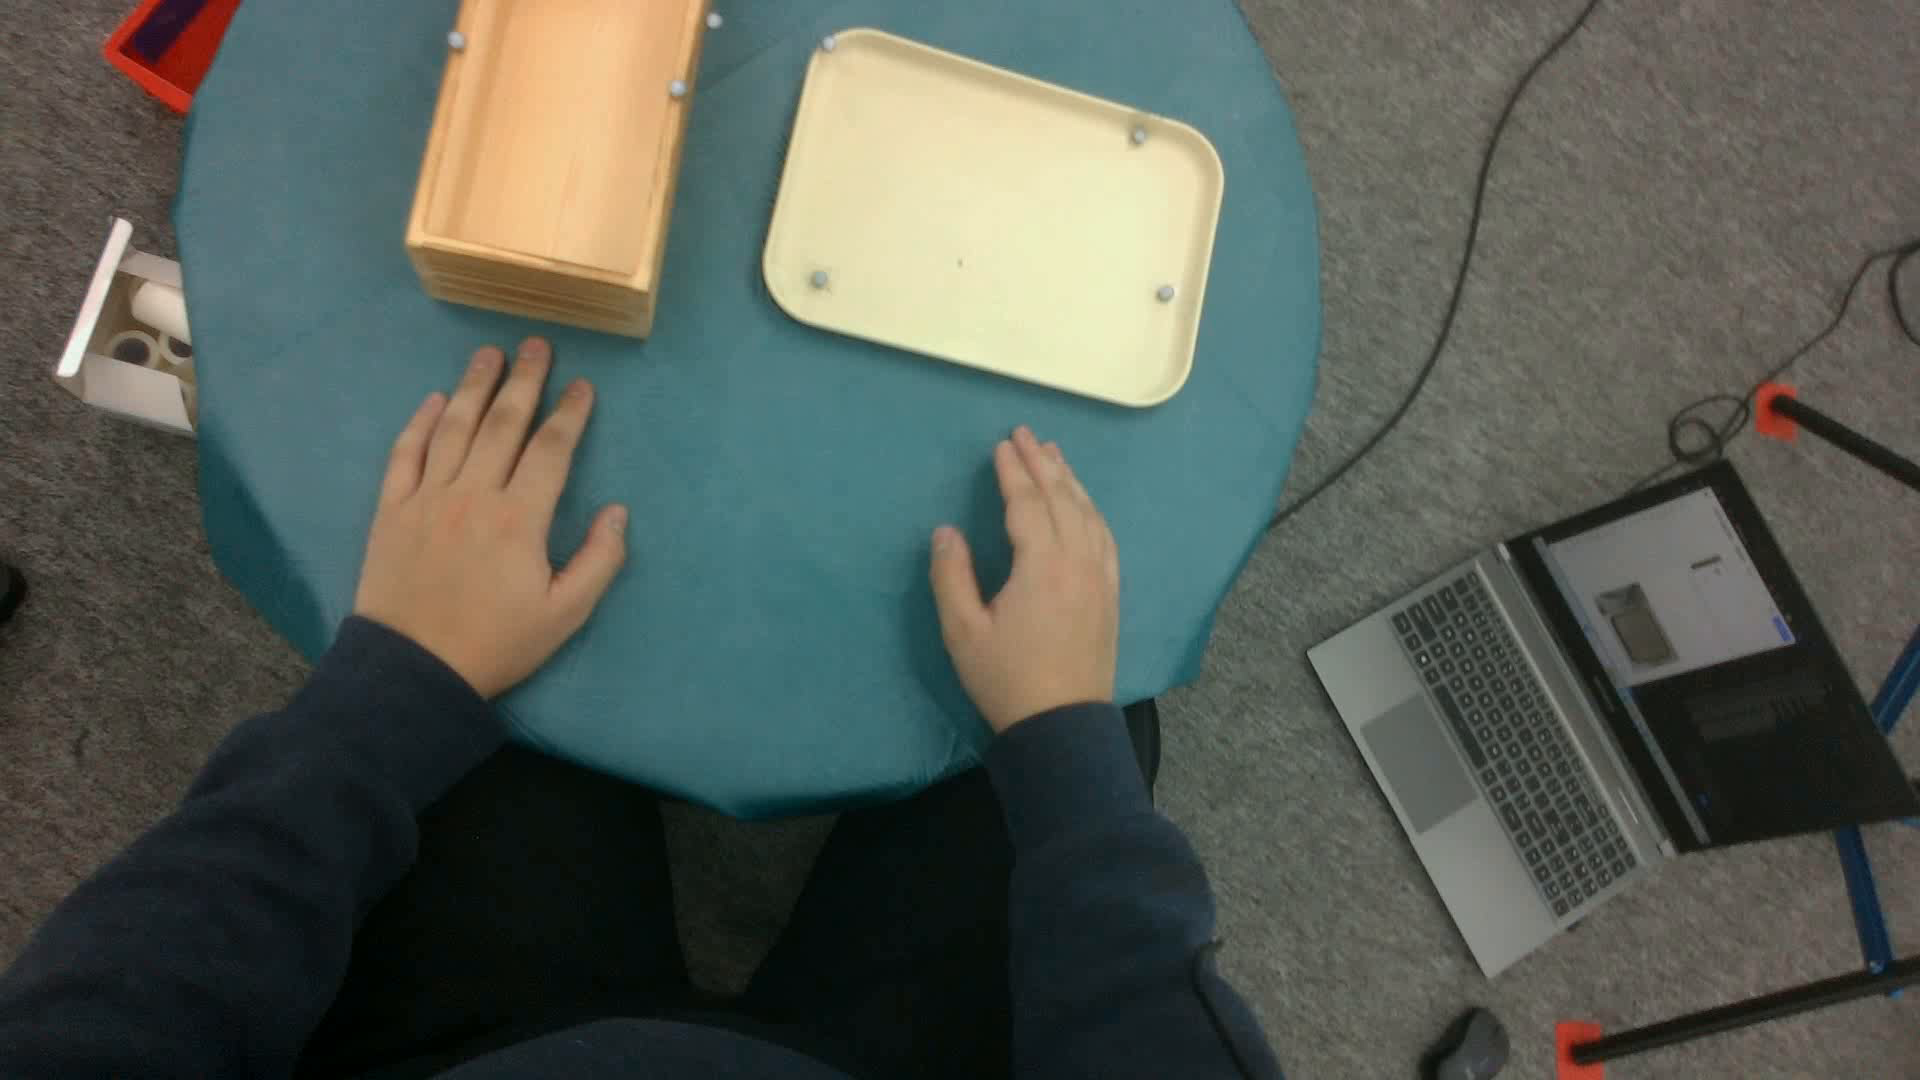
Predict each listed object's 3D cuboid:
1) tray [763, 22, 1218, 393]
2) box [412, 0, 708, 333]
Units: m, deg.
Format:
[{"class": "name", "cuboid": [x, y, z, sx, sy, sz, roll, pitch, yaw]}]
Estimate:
[{"class": "tray", "cuboid": [0.020, -0.180, 0.755, 0.240, 0.017, 0.171, 12, 80, -10]}, {"class": "box", "cuboid": [-0.191, -0.222, 0.684, 0.107, 0.080, 0.212, 8, 80, -10]}]
